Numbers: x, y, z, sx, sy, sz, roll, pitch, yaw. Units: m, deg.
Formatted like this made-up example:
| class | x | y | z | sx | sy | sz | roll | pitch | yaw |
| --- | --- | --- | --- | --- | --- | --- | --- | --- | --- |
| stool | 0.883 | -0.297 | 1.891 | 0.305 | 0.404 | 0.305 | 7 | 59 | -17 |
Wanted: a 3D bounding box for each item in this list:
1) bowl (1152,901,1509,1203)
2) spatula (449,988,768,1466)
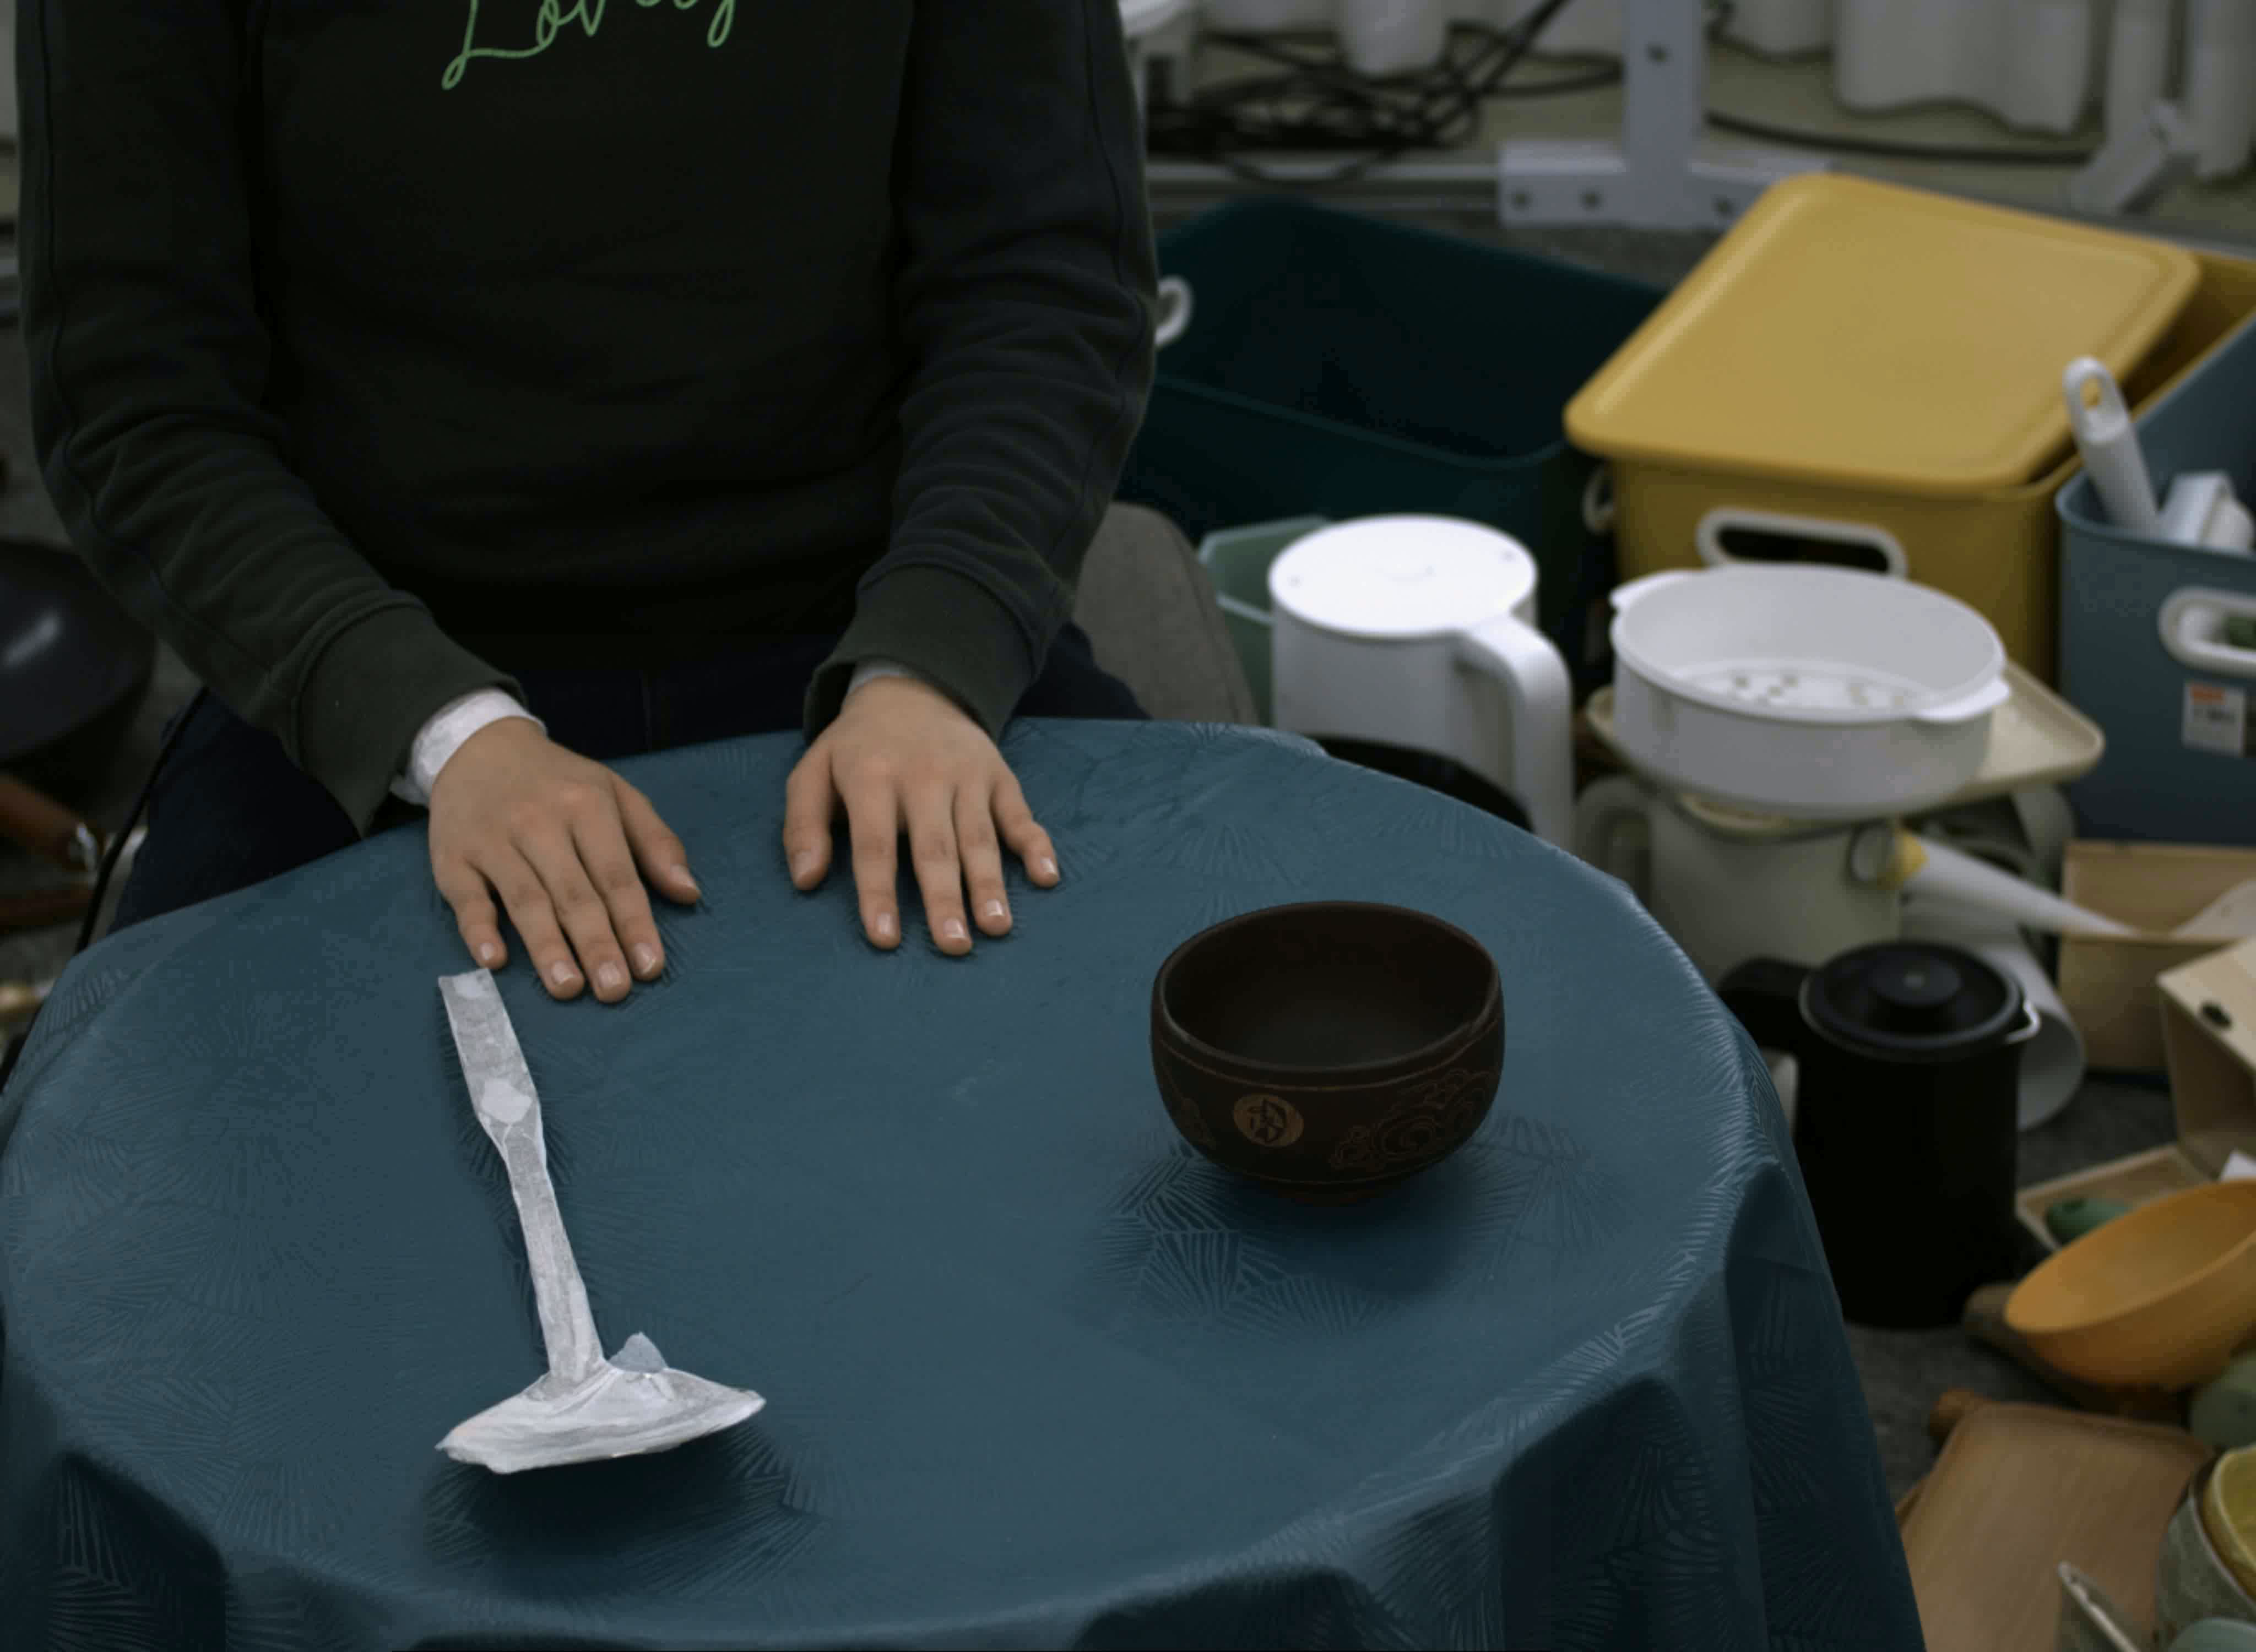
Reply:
| class | x | y | z | sx | sy | sz | roll | pitch | yaw |
| --- | --- | --- | --- | --- | --- | --- | --- | --- | --- |
| bowl | 0.067 | 0.081 | 1.857 | 0.117 | 0.069 | 0.119 | -2 | 25 | 1 |
| spatula | -0.189 | 0.123 | 1.836 | 0.098 | 0.044 | 0.369 | -10 | 28 | -9 |
